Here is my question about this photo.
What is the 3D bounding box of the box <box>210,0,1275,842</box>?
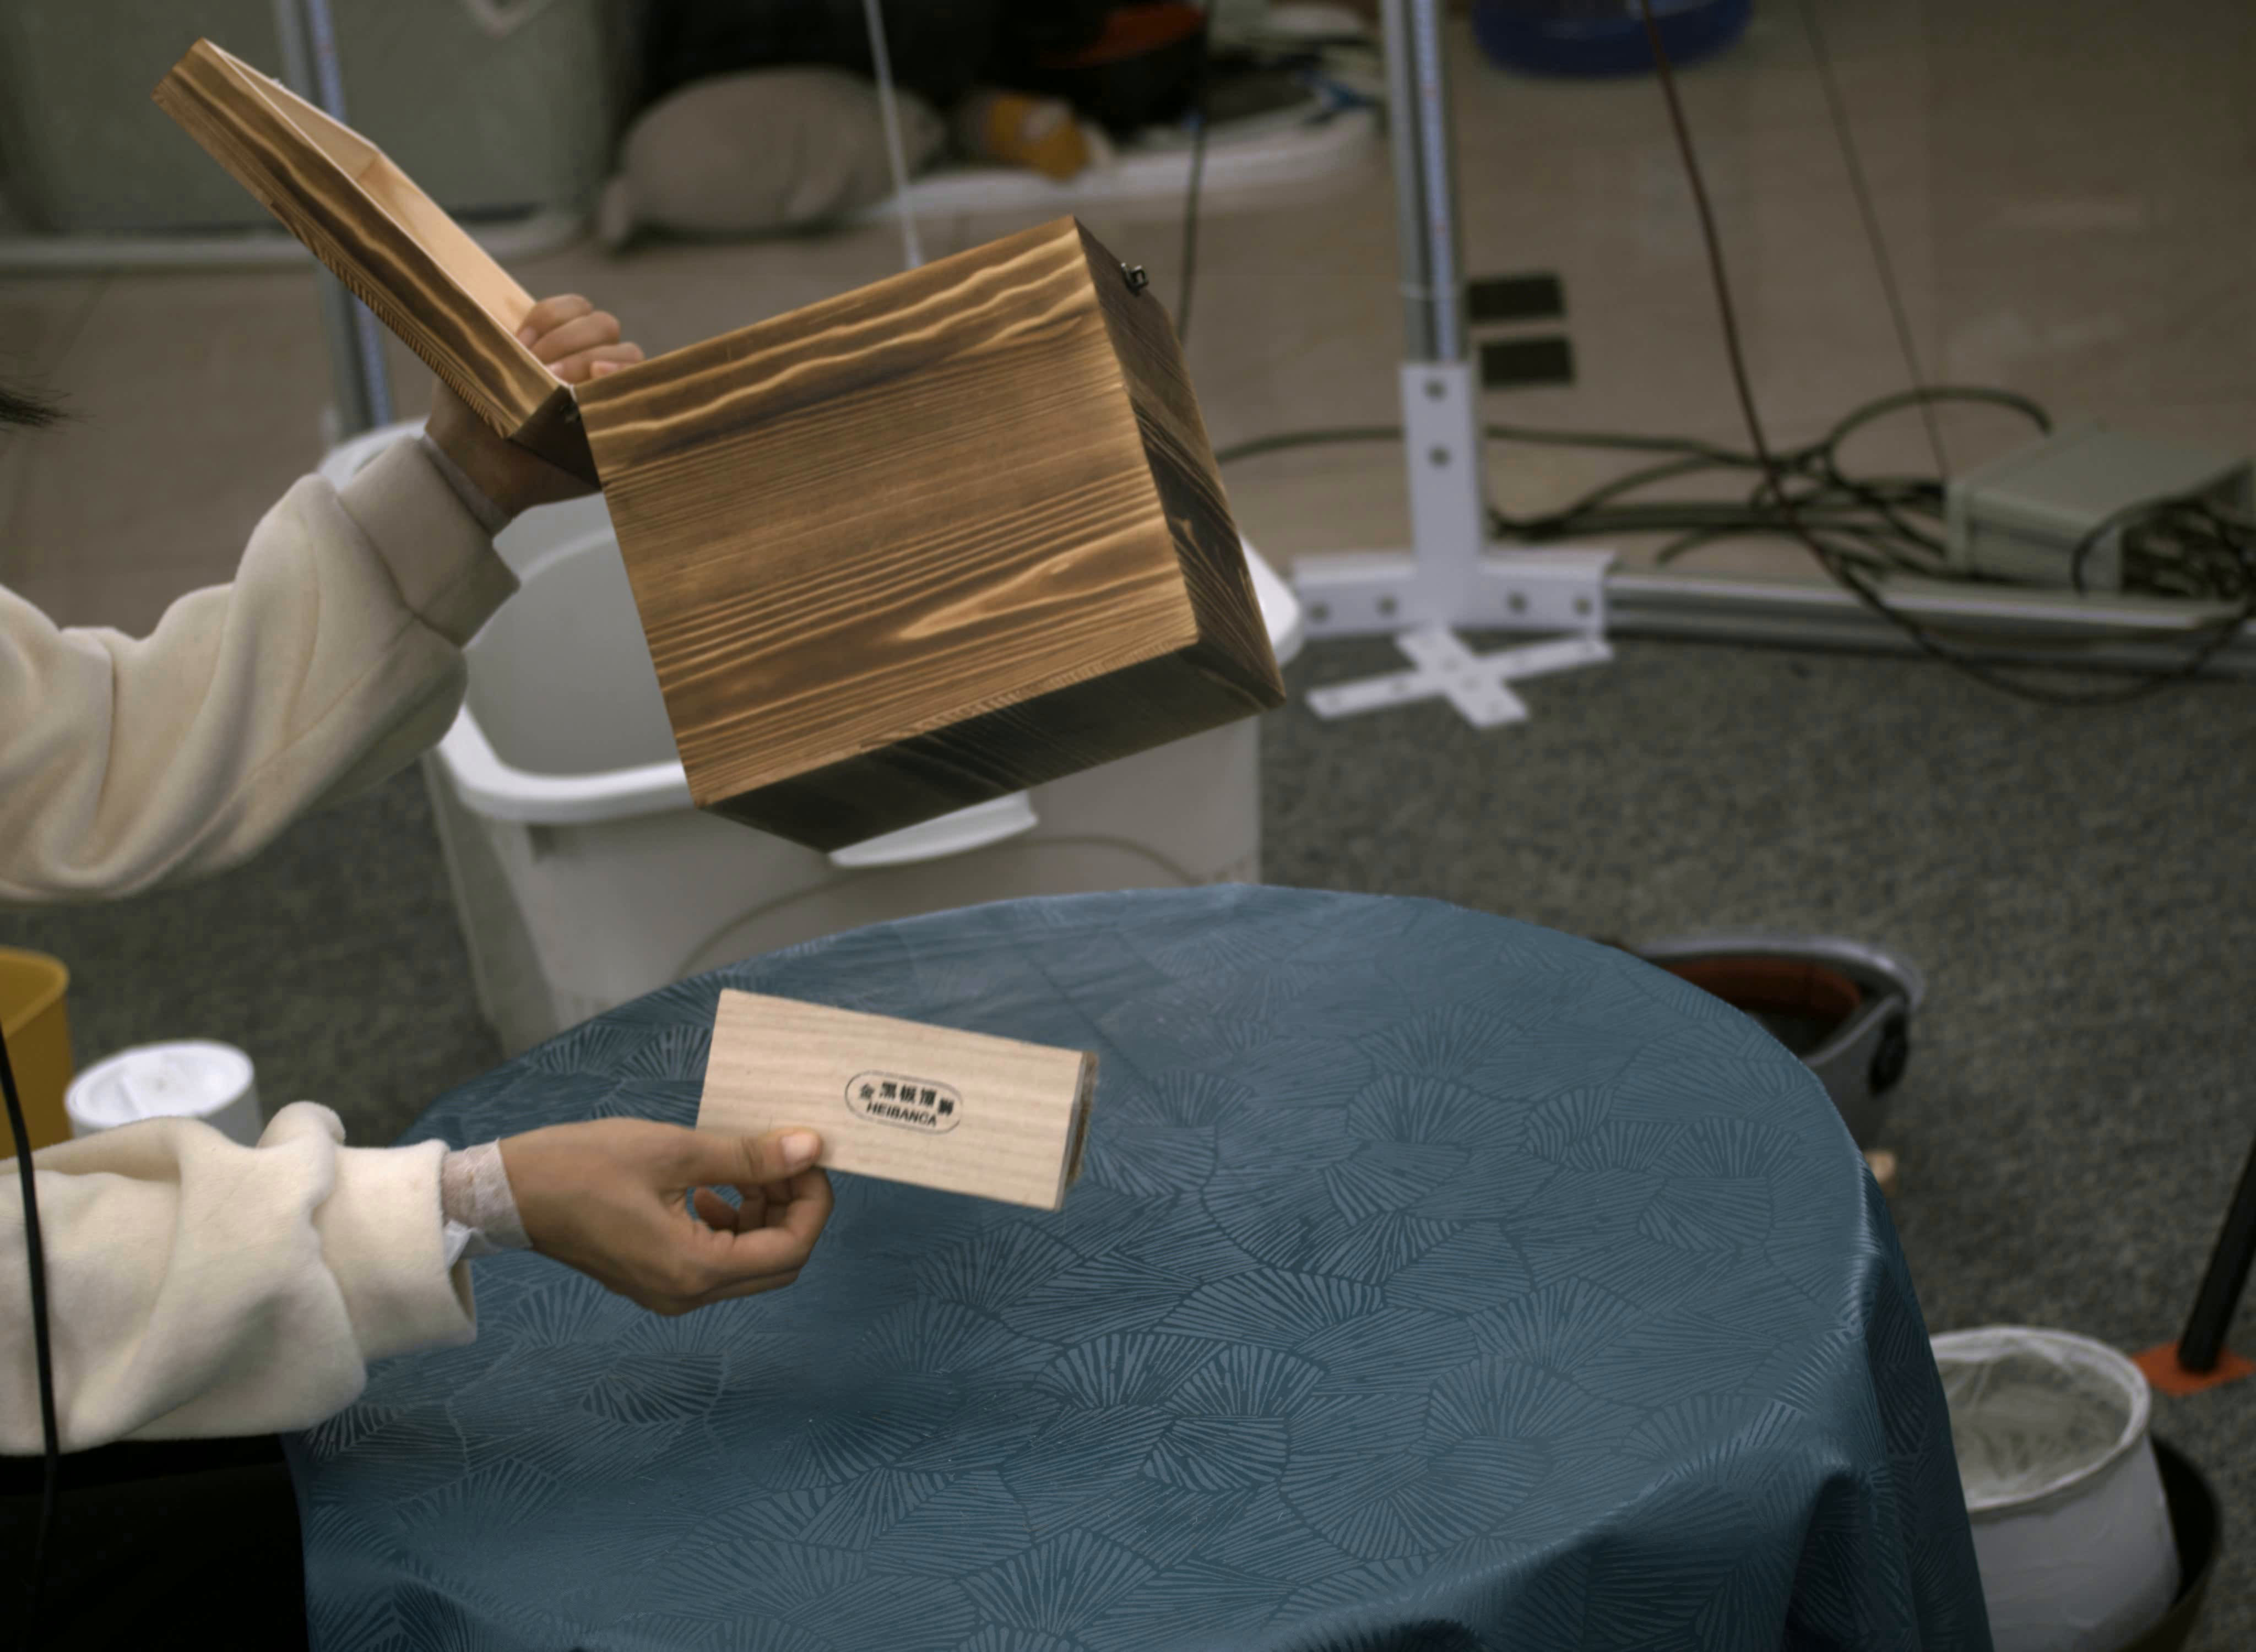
[{"bbox_3d":[-0.147,-0.185,2.201,0.322,0.374,0.209,-17,-5,9],"label":"box"}]

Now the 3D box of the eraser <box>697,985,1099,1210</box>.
[{"bbox_3d":[-0.082,0.097,2.022,0.139,0.057,0.029,10,-1,20],"label":"eraser"}]
